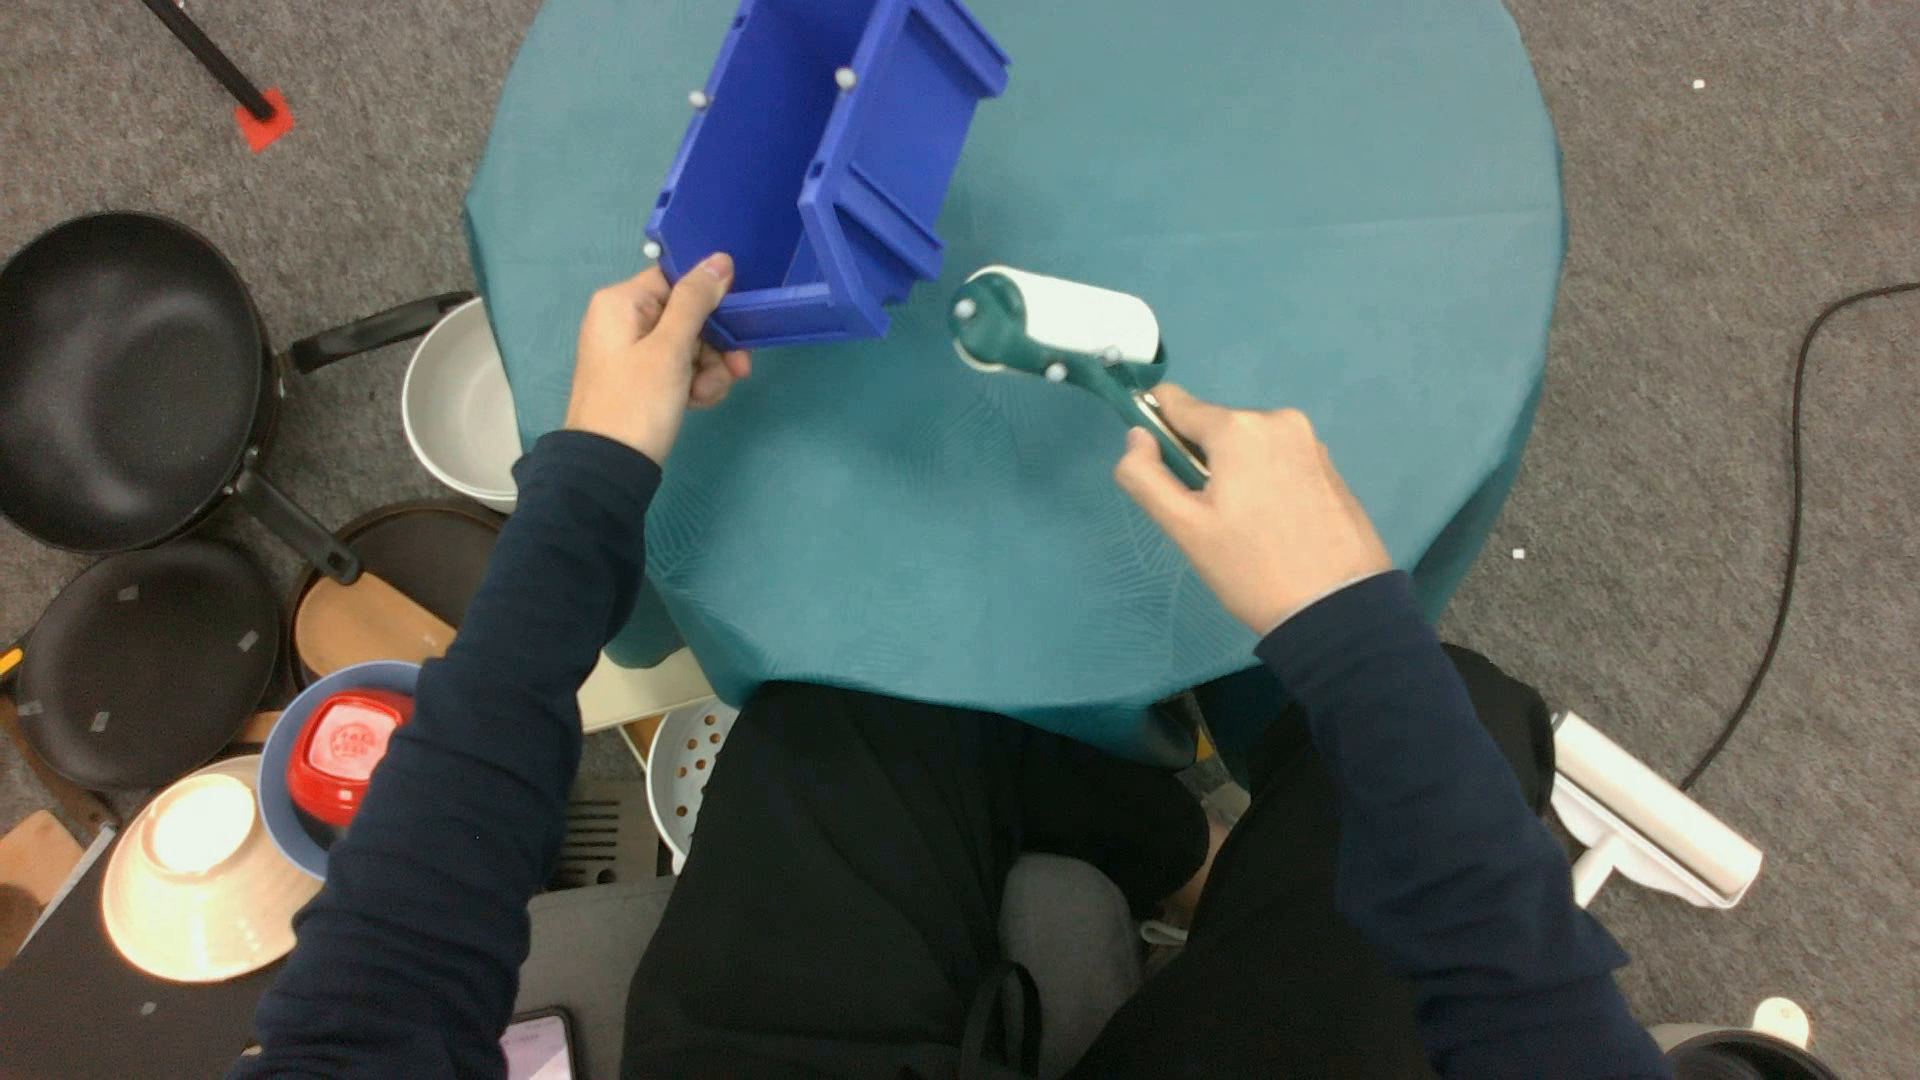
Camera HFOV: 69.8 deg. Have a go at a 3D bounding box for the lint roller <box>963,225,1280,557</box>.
[{"bbox_3d":[0.088,-0.068,0.610,0.180,0.134,0.048,47,115,27],"label":"lint roller"}]

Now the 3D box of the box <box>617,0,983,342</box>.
[{"bbox_3d":[-0.076,-0.186,0.655,0.124,0.082,0.180,2,66,40],"label":"box"}]
